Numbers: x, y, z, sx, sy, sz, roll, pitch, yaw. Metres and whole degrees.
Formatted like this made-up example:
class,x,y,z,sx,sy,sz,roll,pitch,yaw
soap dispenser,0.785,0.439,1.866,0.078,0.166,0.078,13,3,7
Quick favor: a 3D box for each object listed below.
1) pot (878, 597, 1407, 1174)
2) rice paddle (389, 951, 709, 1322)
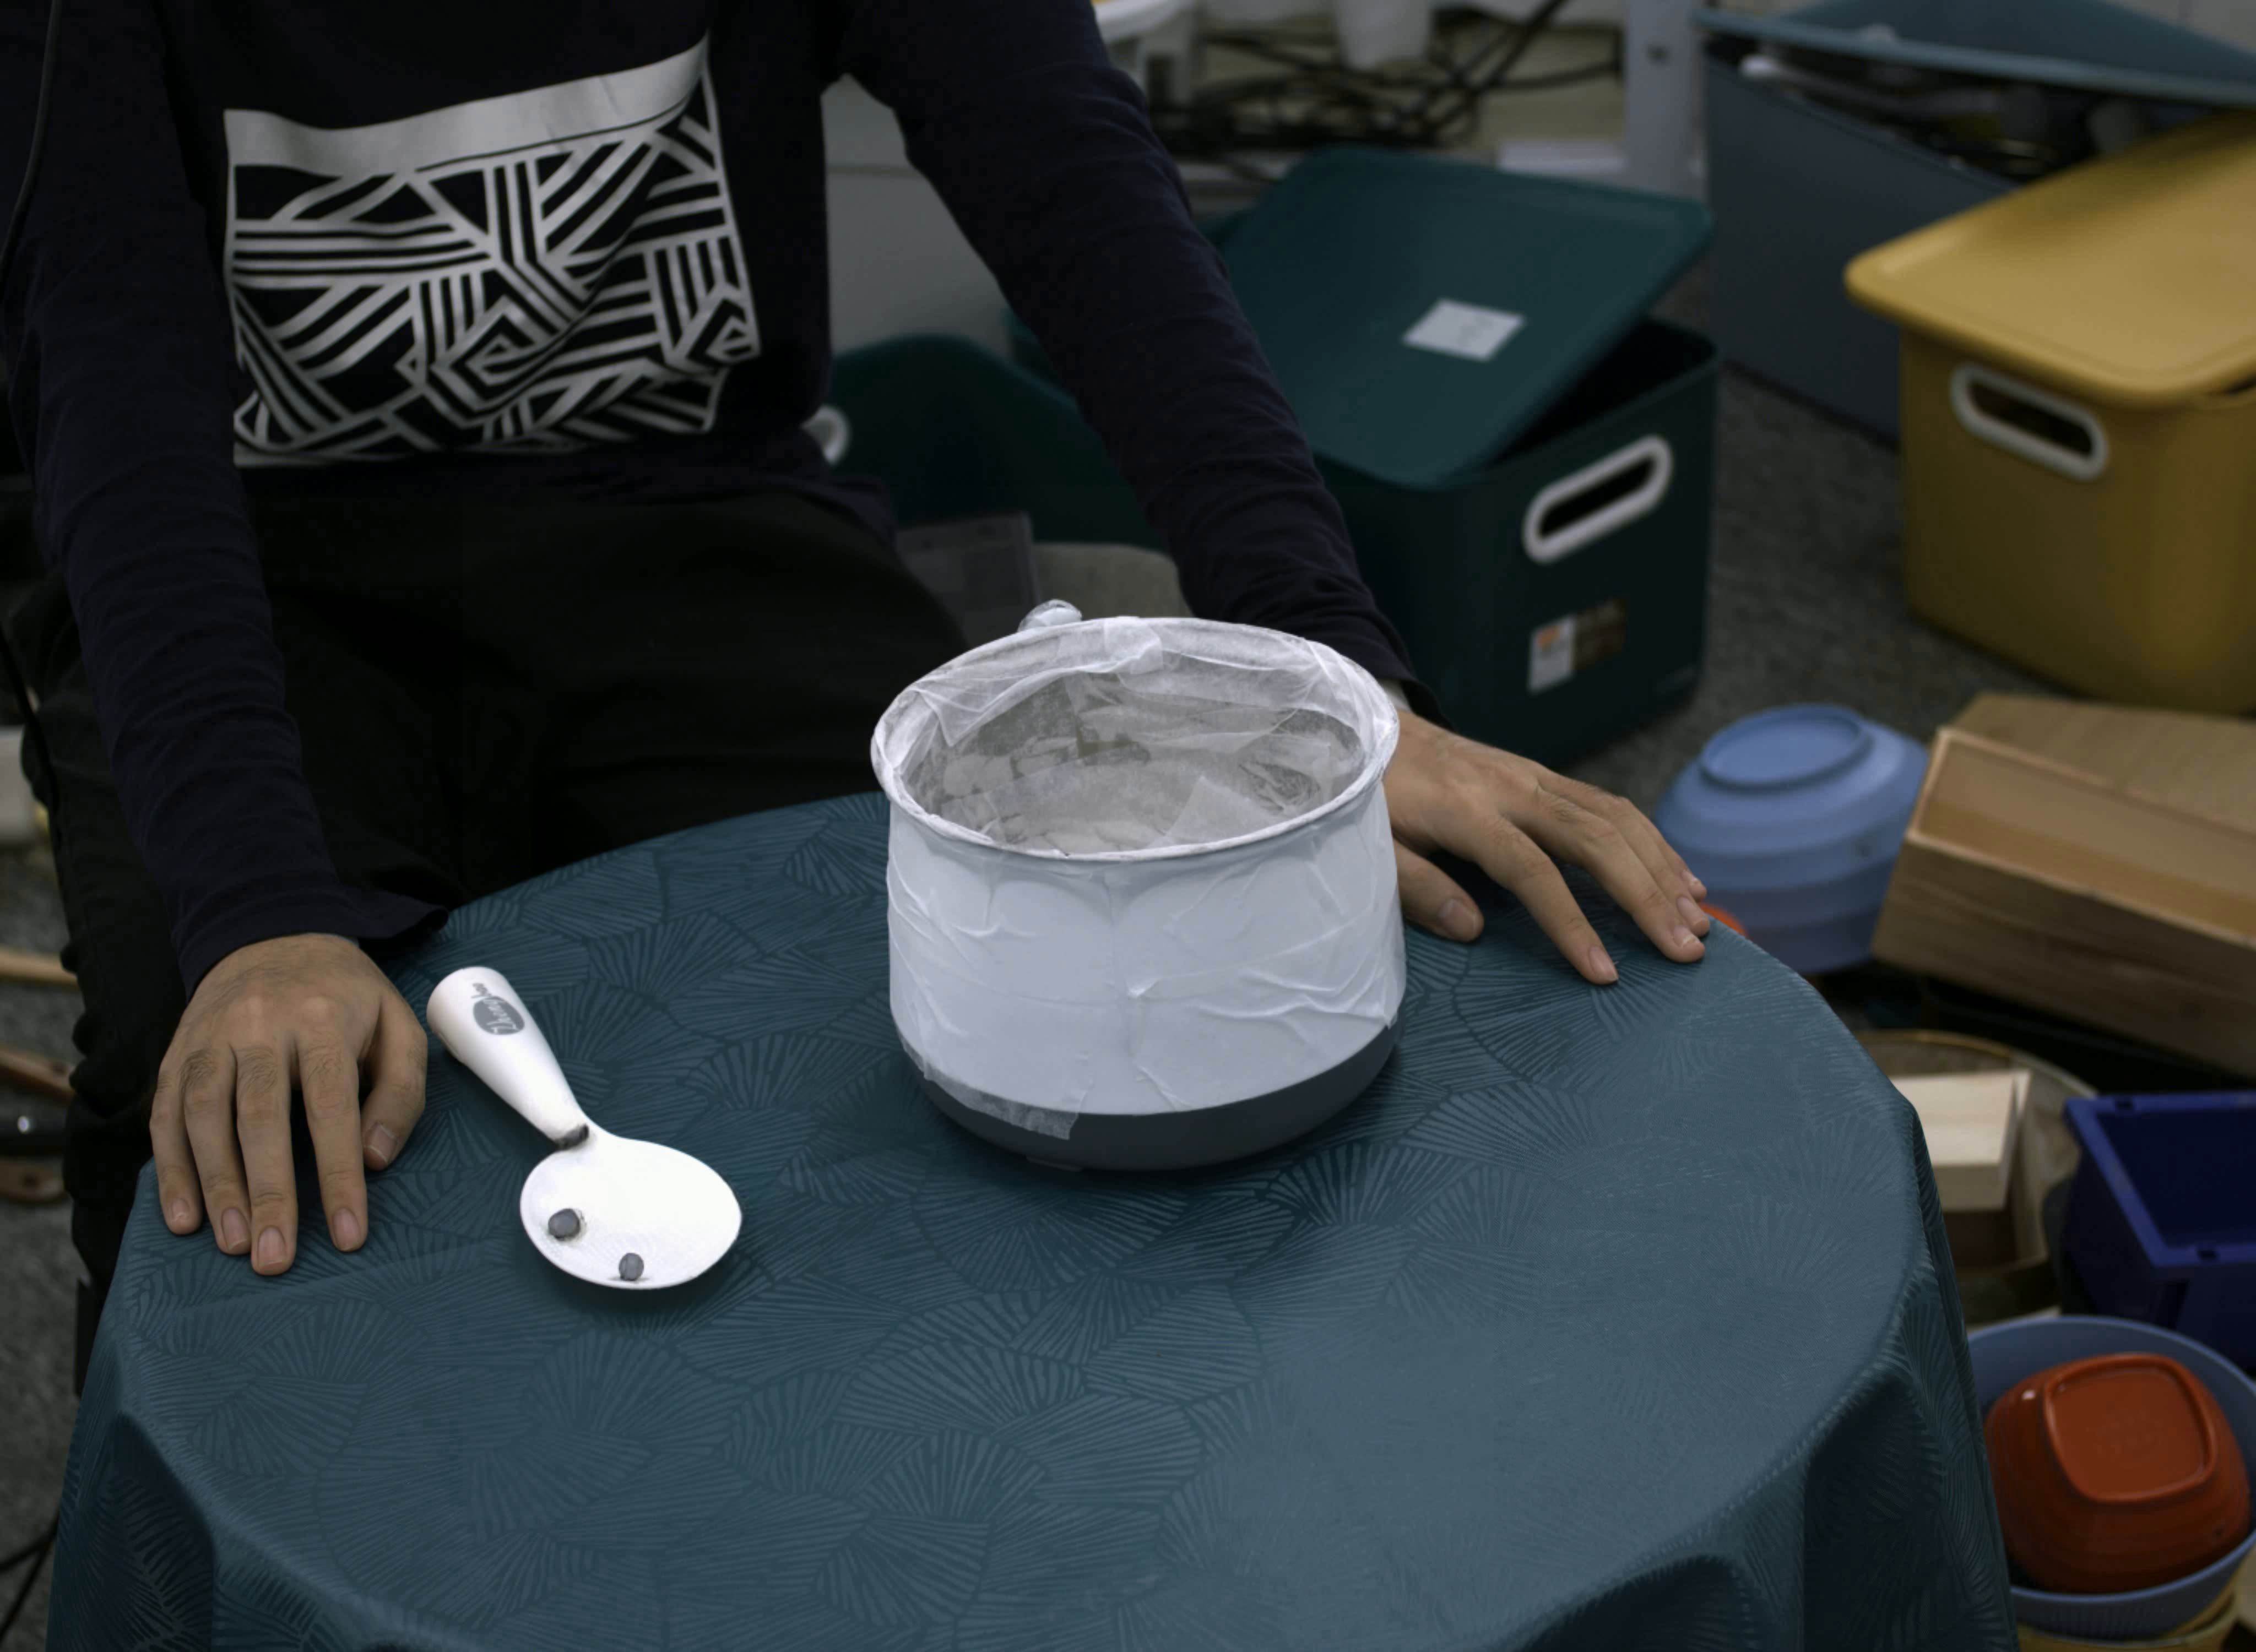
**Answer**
class,x,y,z,sx,sy,sz,roll,pitch,yaw
pot,-0.003,0.013,1.925,0.179,0.135,0.236,-9,28,-16
rice paddle,-0.199,0.107,1.890,0.069,0.029,0.207,-9,34,-25
